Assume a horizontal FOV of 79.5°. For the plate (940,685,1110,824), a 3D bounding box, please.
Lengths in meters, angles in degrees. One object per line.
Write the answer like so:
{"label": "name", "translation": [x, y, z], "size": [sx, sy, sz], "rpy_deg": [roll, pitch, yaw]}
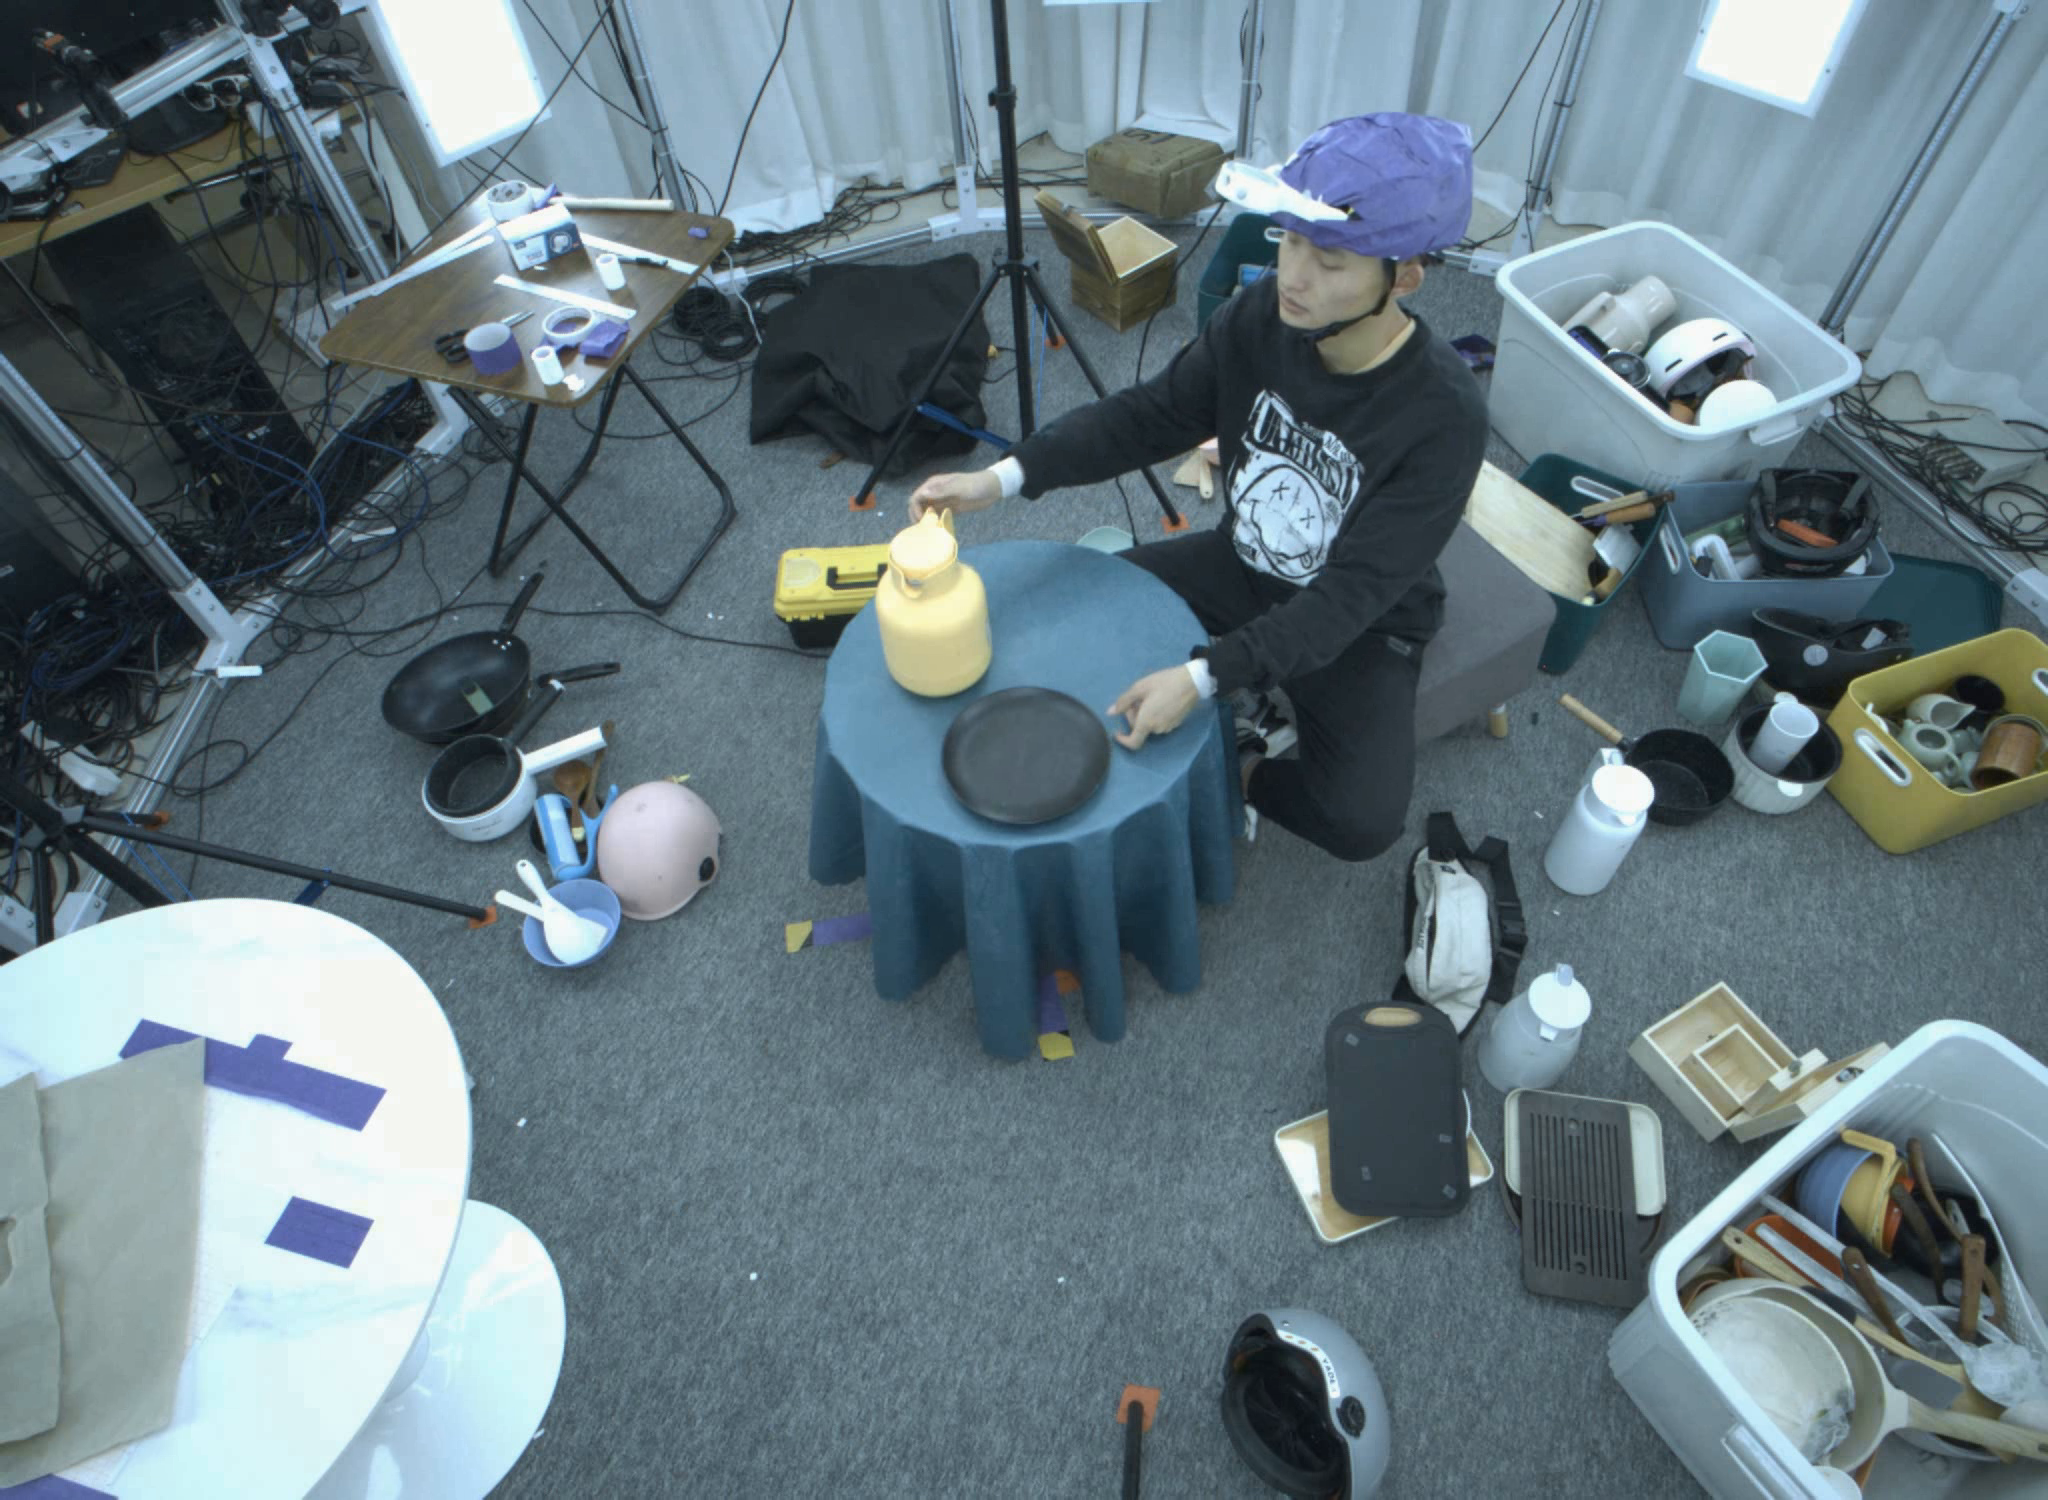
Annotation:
{"label": "plate", "translation": [0.001, 0.008, 1.763], "size": [0.244, 0.023, 0.242], "rpy_deg": [0, 55, 2]}

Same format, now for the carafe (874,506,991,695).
{"label": "carafe", "translation": [-0.131, -0.224, 1.785], "size": [0.163, 0.263, 0.201], "rpy_deg": [9, 57, 7]}
